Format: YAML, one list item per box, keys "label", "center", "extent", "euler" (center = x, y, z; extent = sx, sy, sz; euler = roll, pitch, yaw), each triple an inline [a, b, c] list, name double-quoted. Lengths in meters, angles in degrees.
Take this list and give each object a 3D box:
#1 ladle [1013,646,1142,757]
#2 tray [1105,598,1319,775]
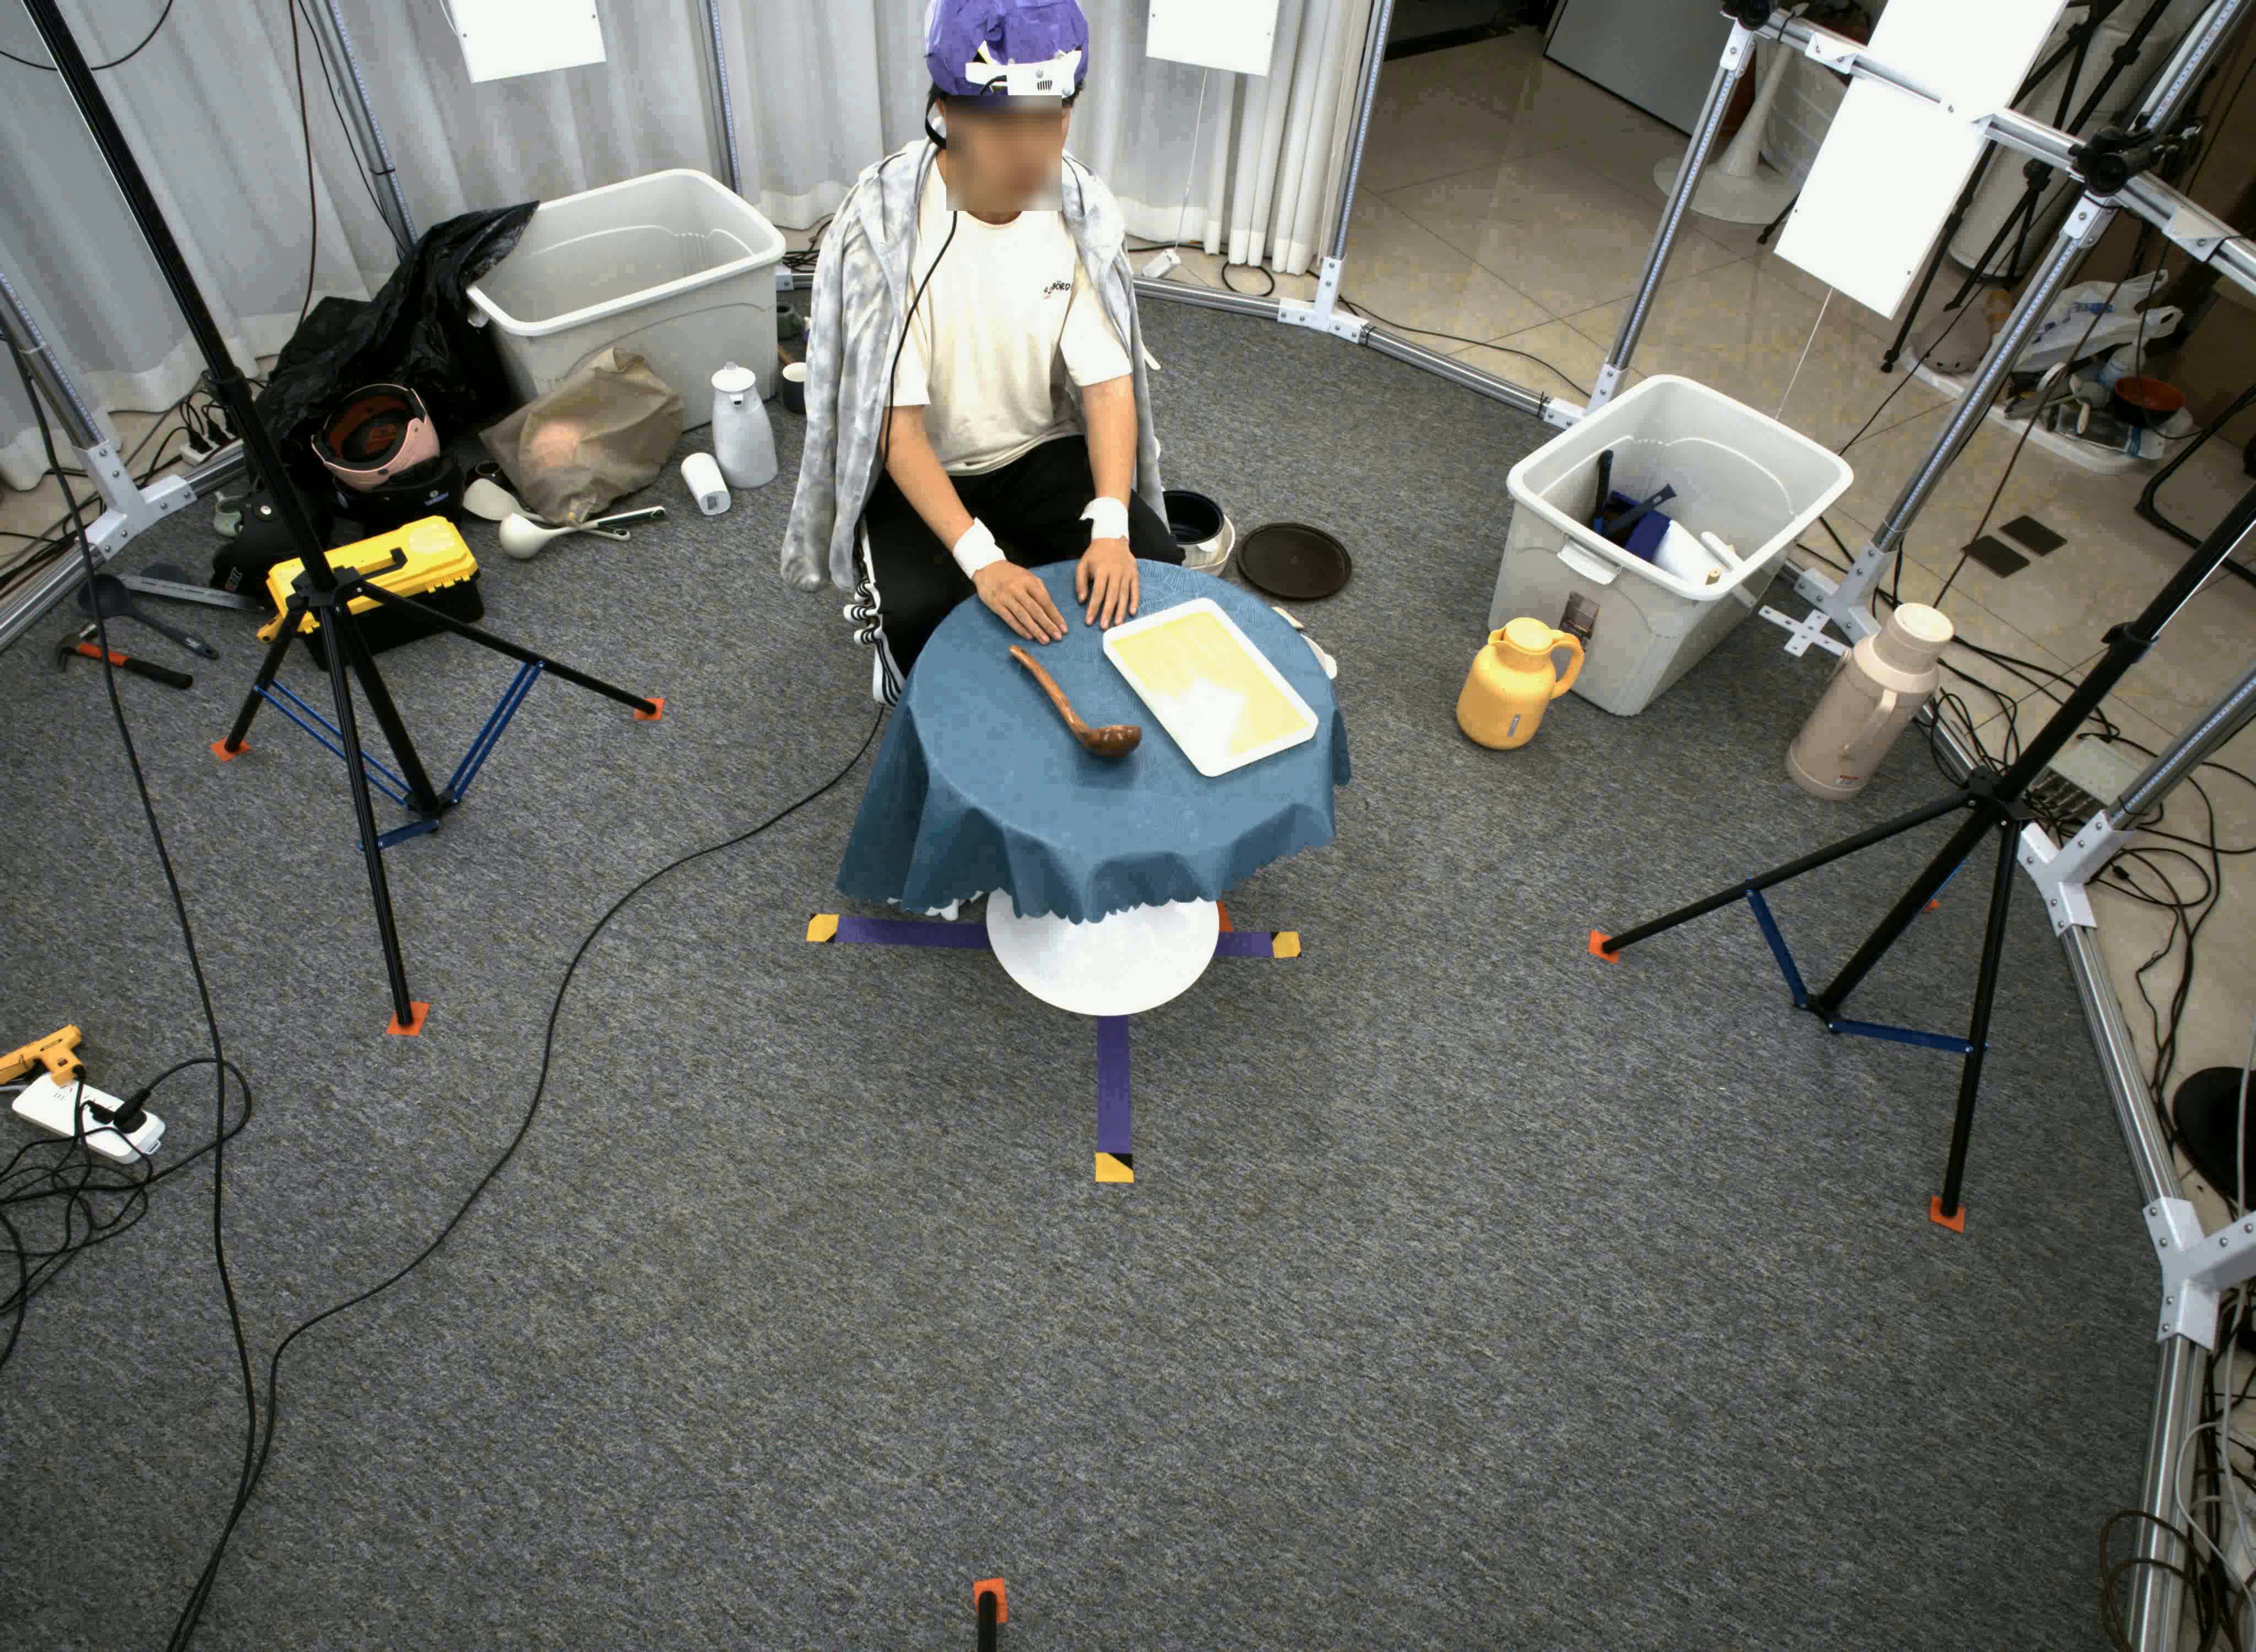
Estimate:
- label: "ladle"
  center: [-0.075, -0.189, 1.774]
  extent: [0.081, 0.076, 0.280]
  euler: [14, 32, -48]
- label: "tray"
  center: [0.115, -0.205, 1.828]
  extent: [0.192, 0.027, 0.307]
  euler: [-21, 53, -21]
